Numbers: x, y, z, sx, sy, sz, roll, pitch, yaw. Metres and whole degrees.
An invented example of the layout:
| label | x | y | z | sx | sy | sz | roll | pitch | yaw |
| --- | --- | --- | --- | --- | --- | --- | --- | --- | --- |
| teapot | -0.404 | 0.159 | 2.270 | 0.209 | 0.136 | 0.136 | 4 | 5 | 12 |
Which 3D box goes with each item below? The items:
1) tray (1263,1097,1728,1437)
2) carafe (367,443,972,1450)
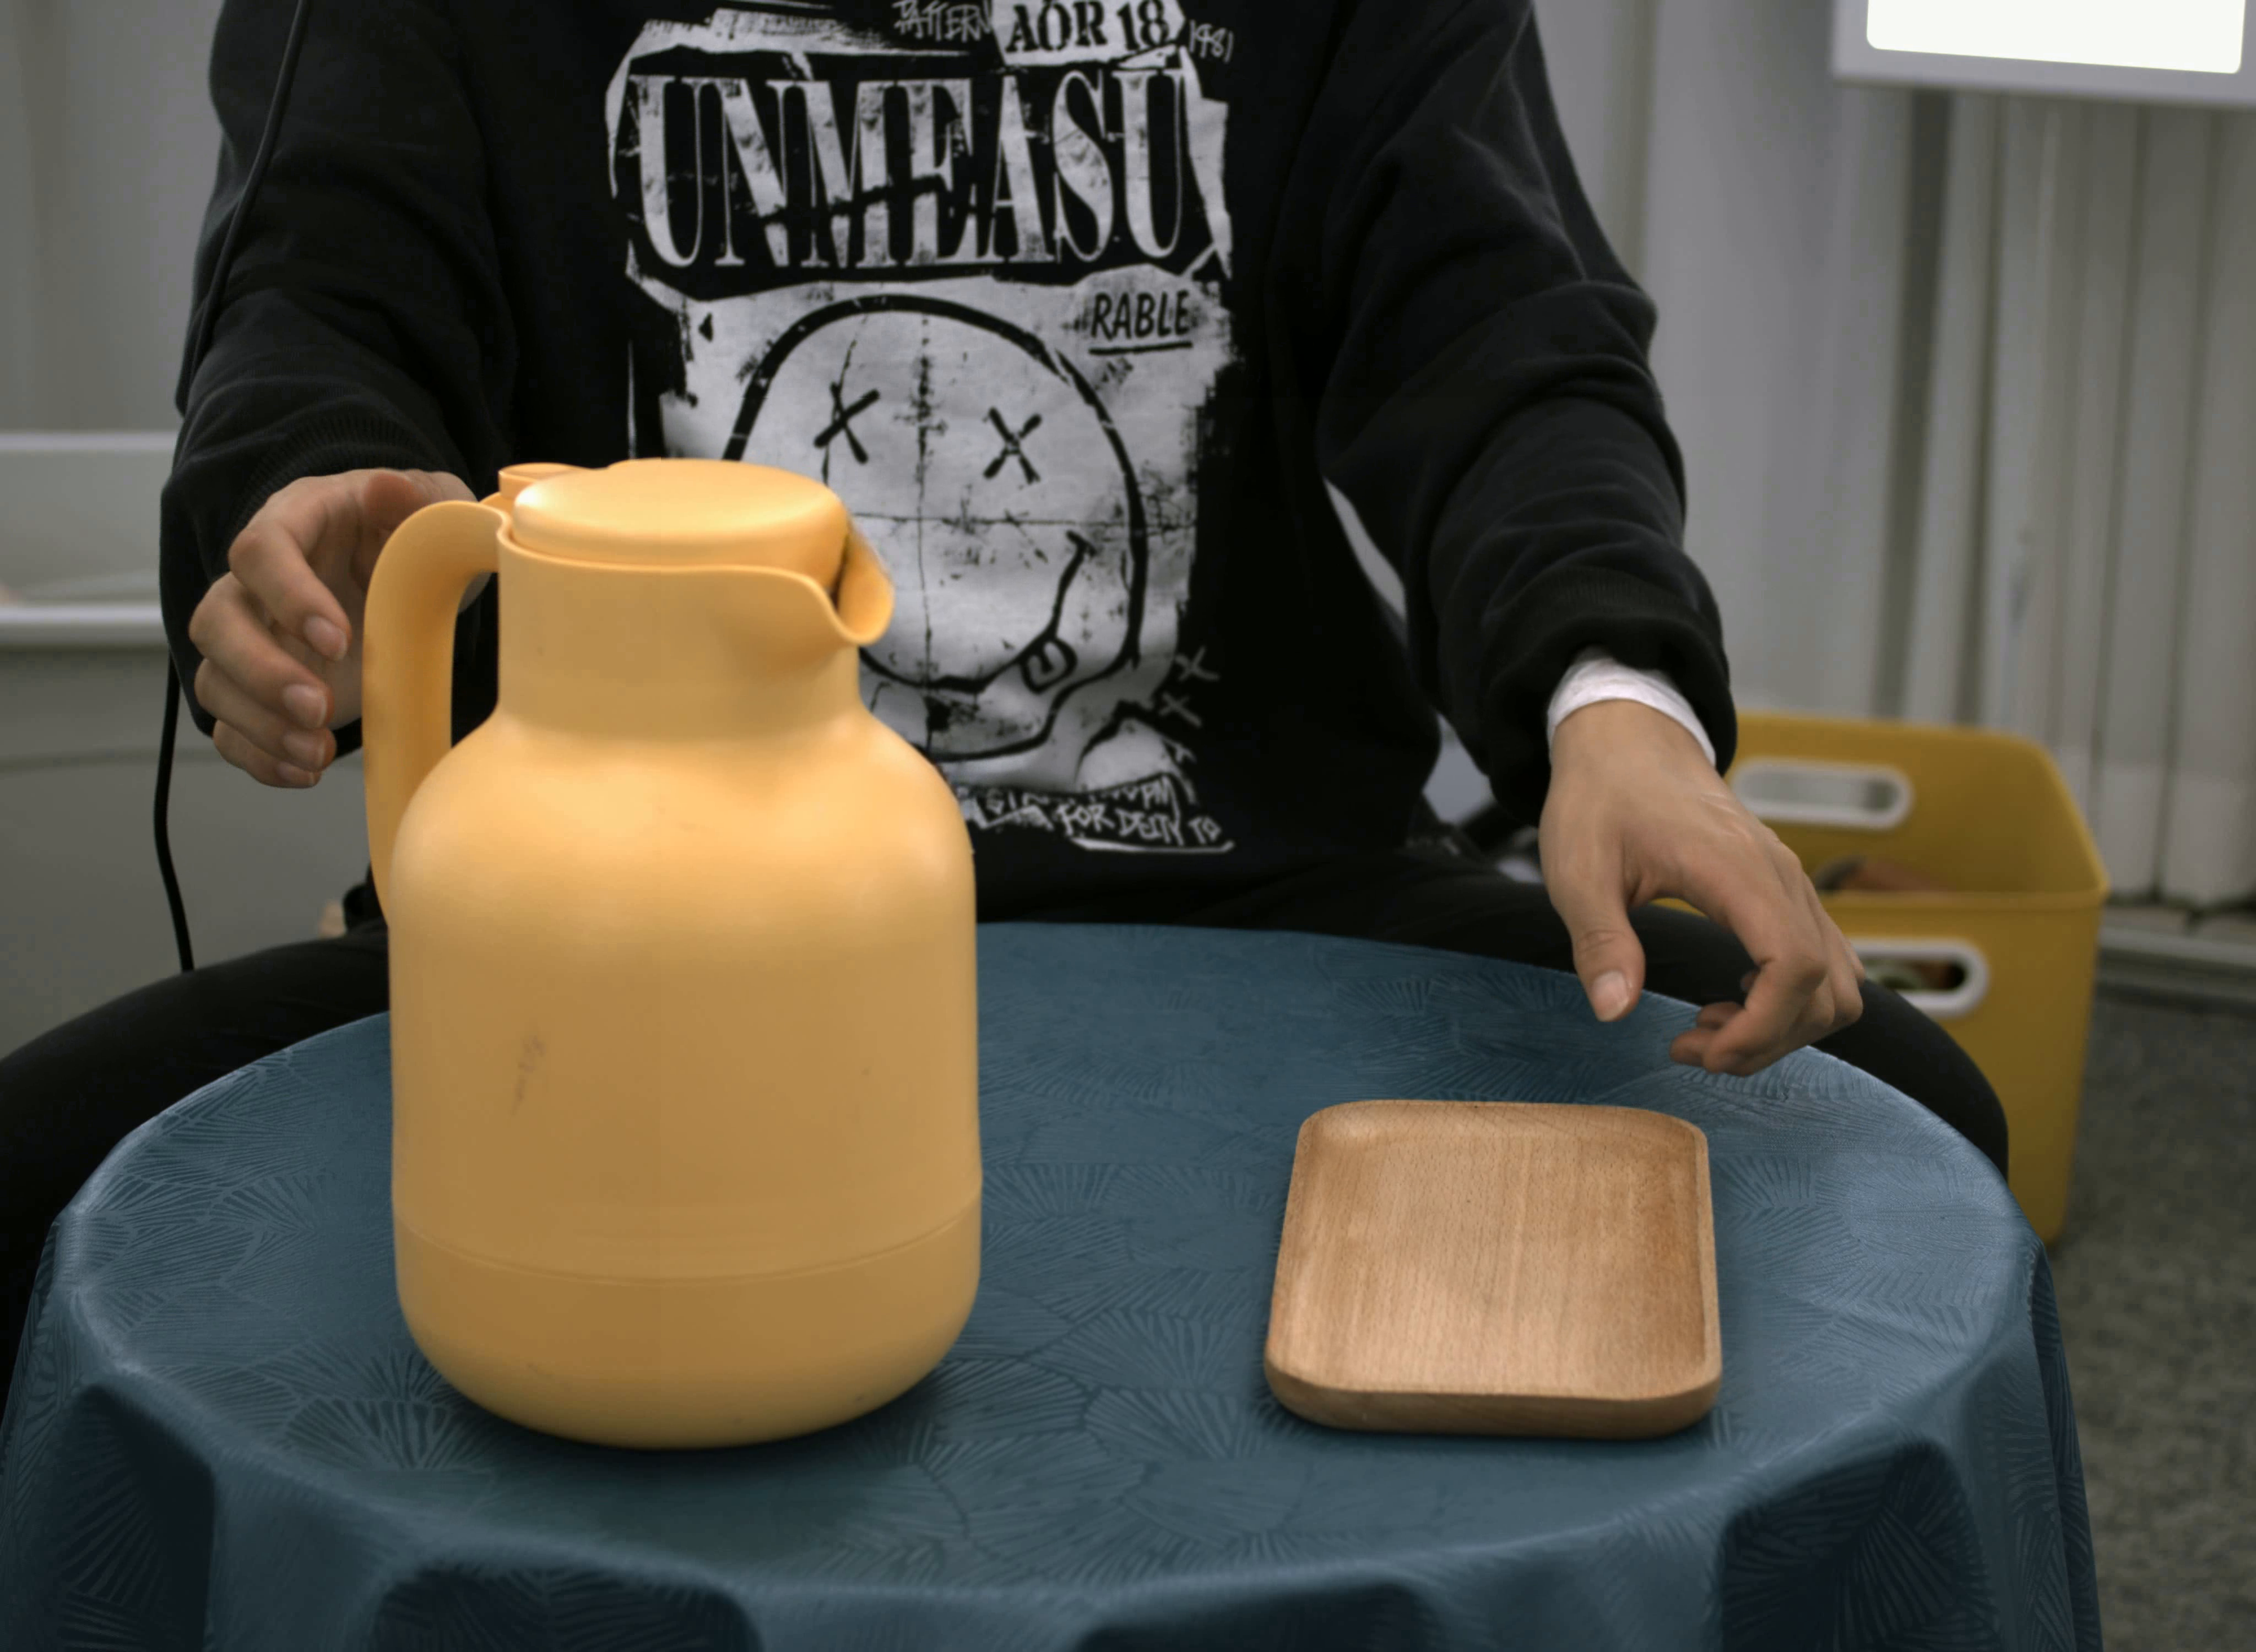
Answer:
| label | x | y | z | sx | sy | sz | roll | pitch | yaw |
| --- | --- | --- | --- | --- | --- | --- | --- | --- | --- |
| tray | 0.109 | 0.126 | 1.544 | 0.130 | 0.023 | 0.250 | 4 | 15 | 5 |
| carafe | -0.135 | 0.024 | 1.445 | 0.164 | 0.262 | 0.199 | -13 | 22 | -44 |
